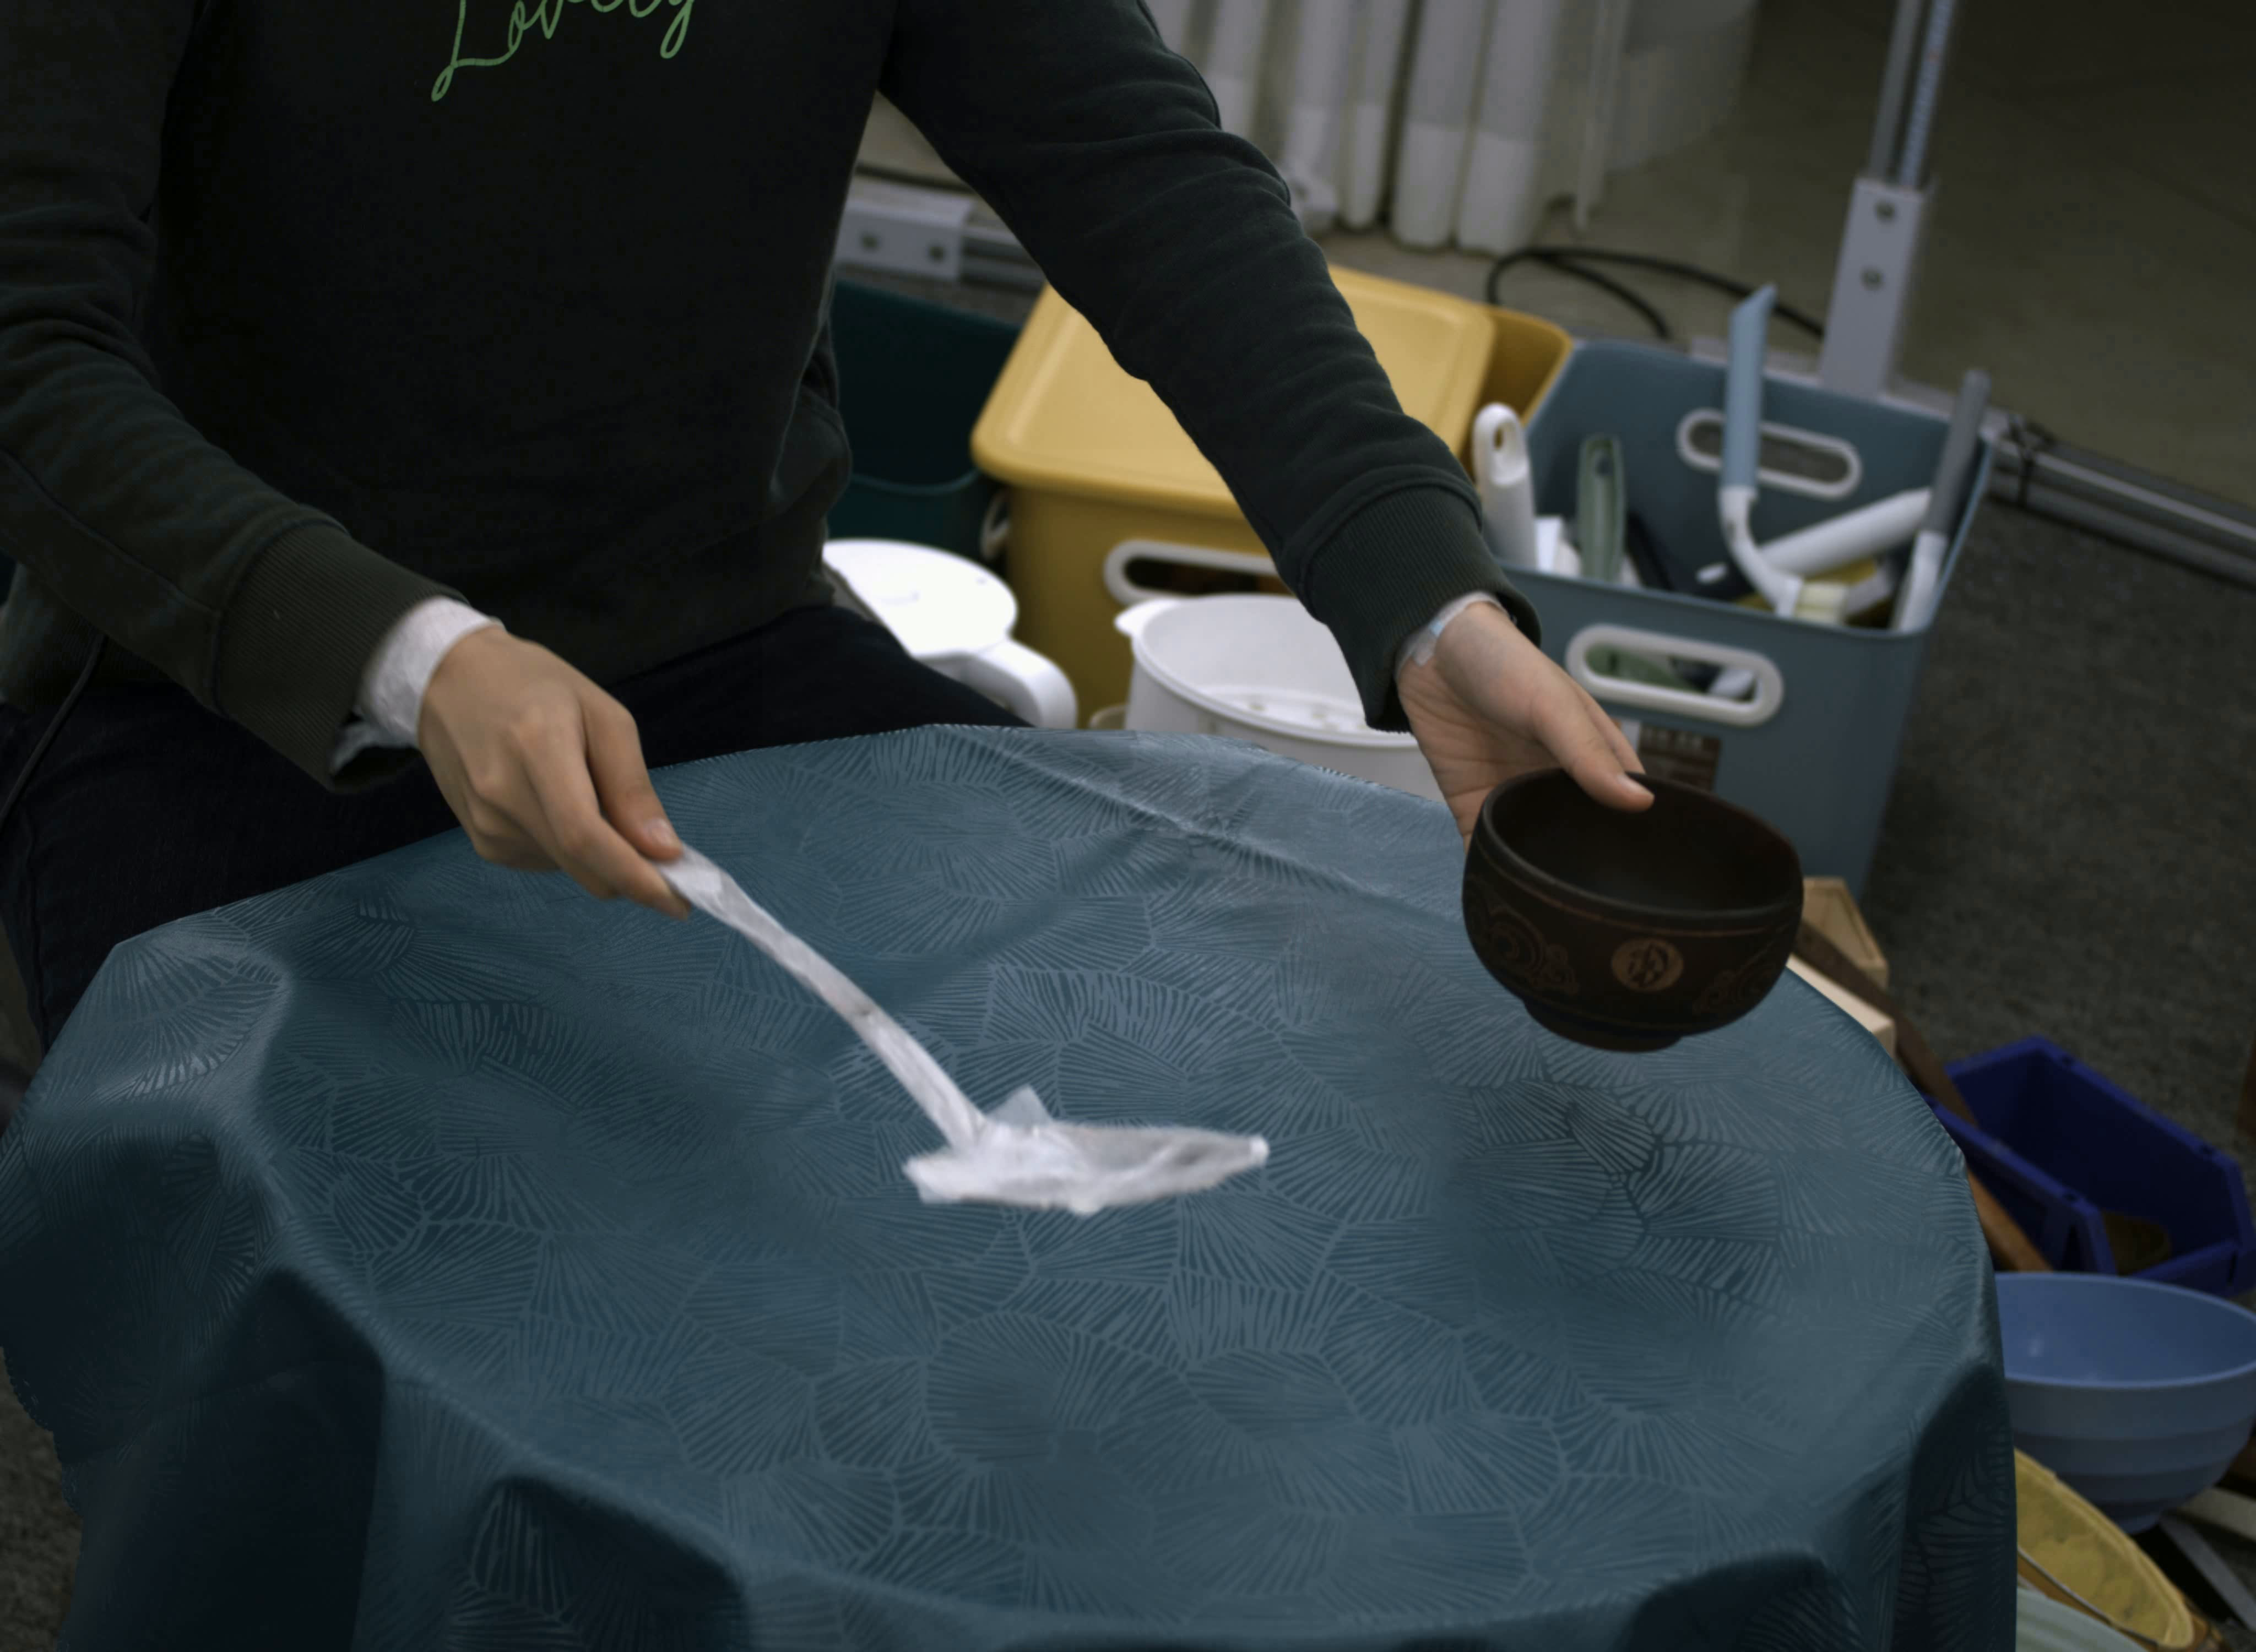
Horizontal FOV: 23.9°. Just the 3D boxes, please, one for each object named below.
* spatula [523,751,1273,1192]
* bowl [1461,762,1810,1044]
[{"bbox_3d":[-0.096,0.039,1.693,0.098,0.044,0.368,-13,34,-36],"label":"spatula"},{"bbox_3d":[0.170,0.032,1.827,0.117,0.070,0.118,9,21,-4],"label":"bowl"}]
